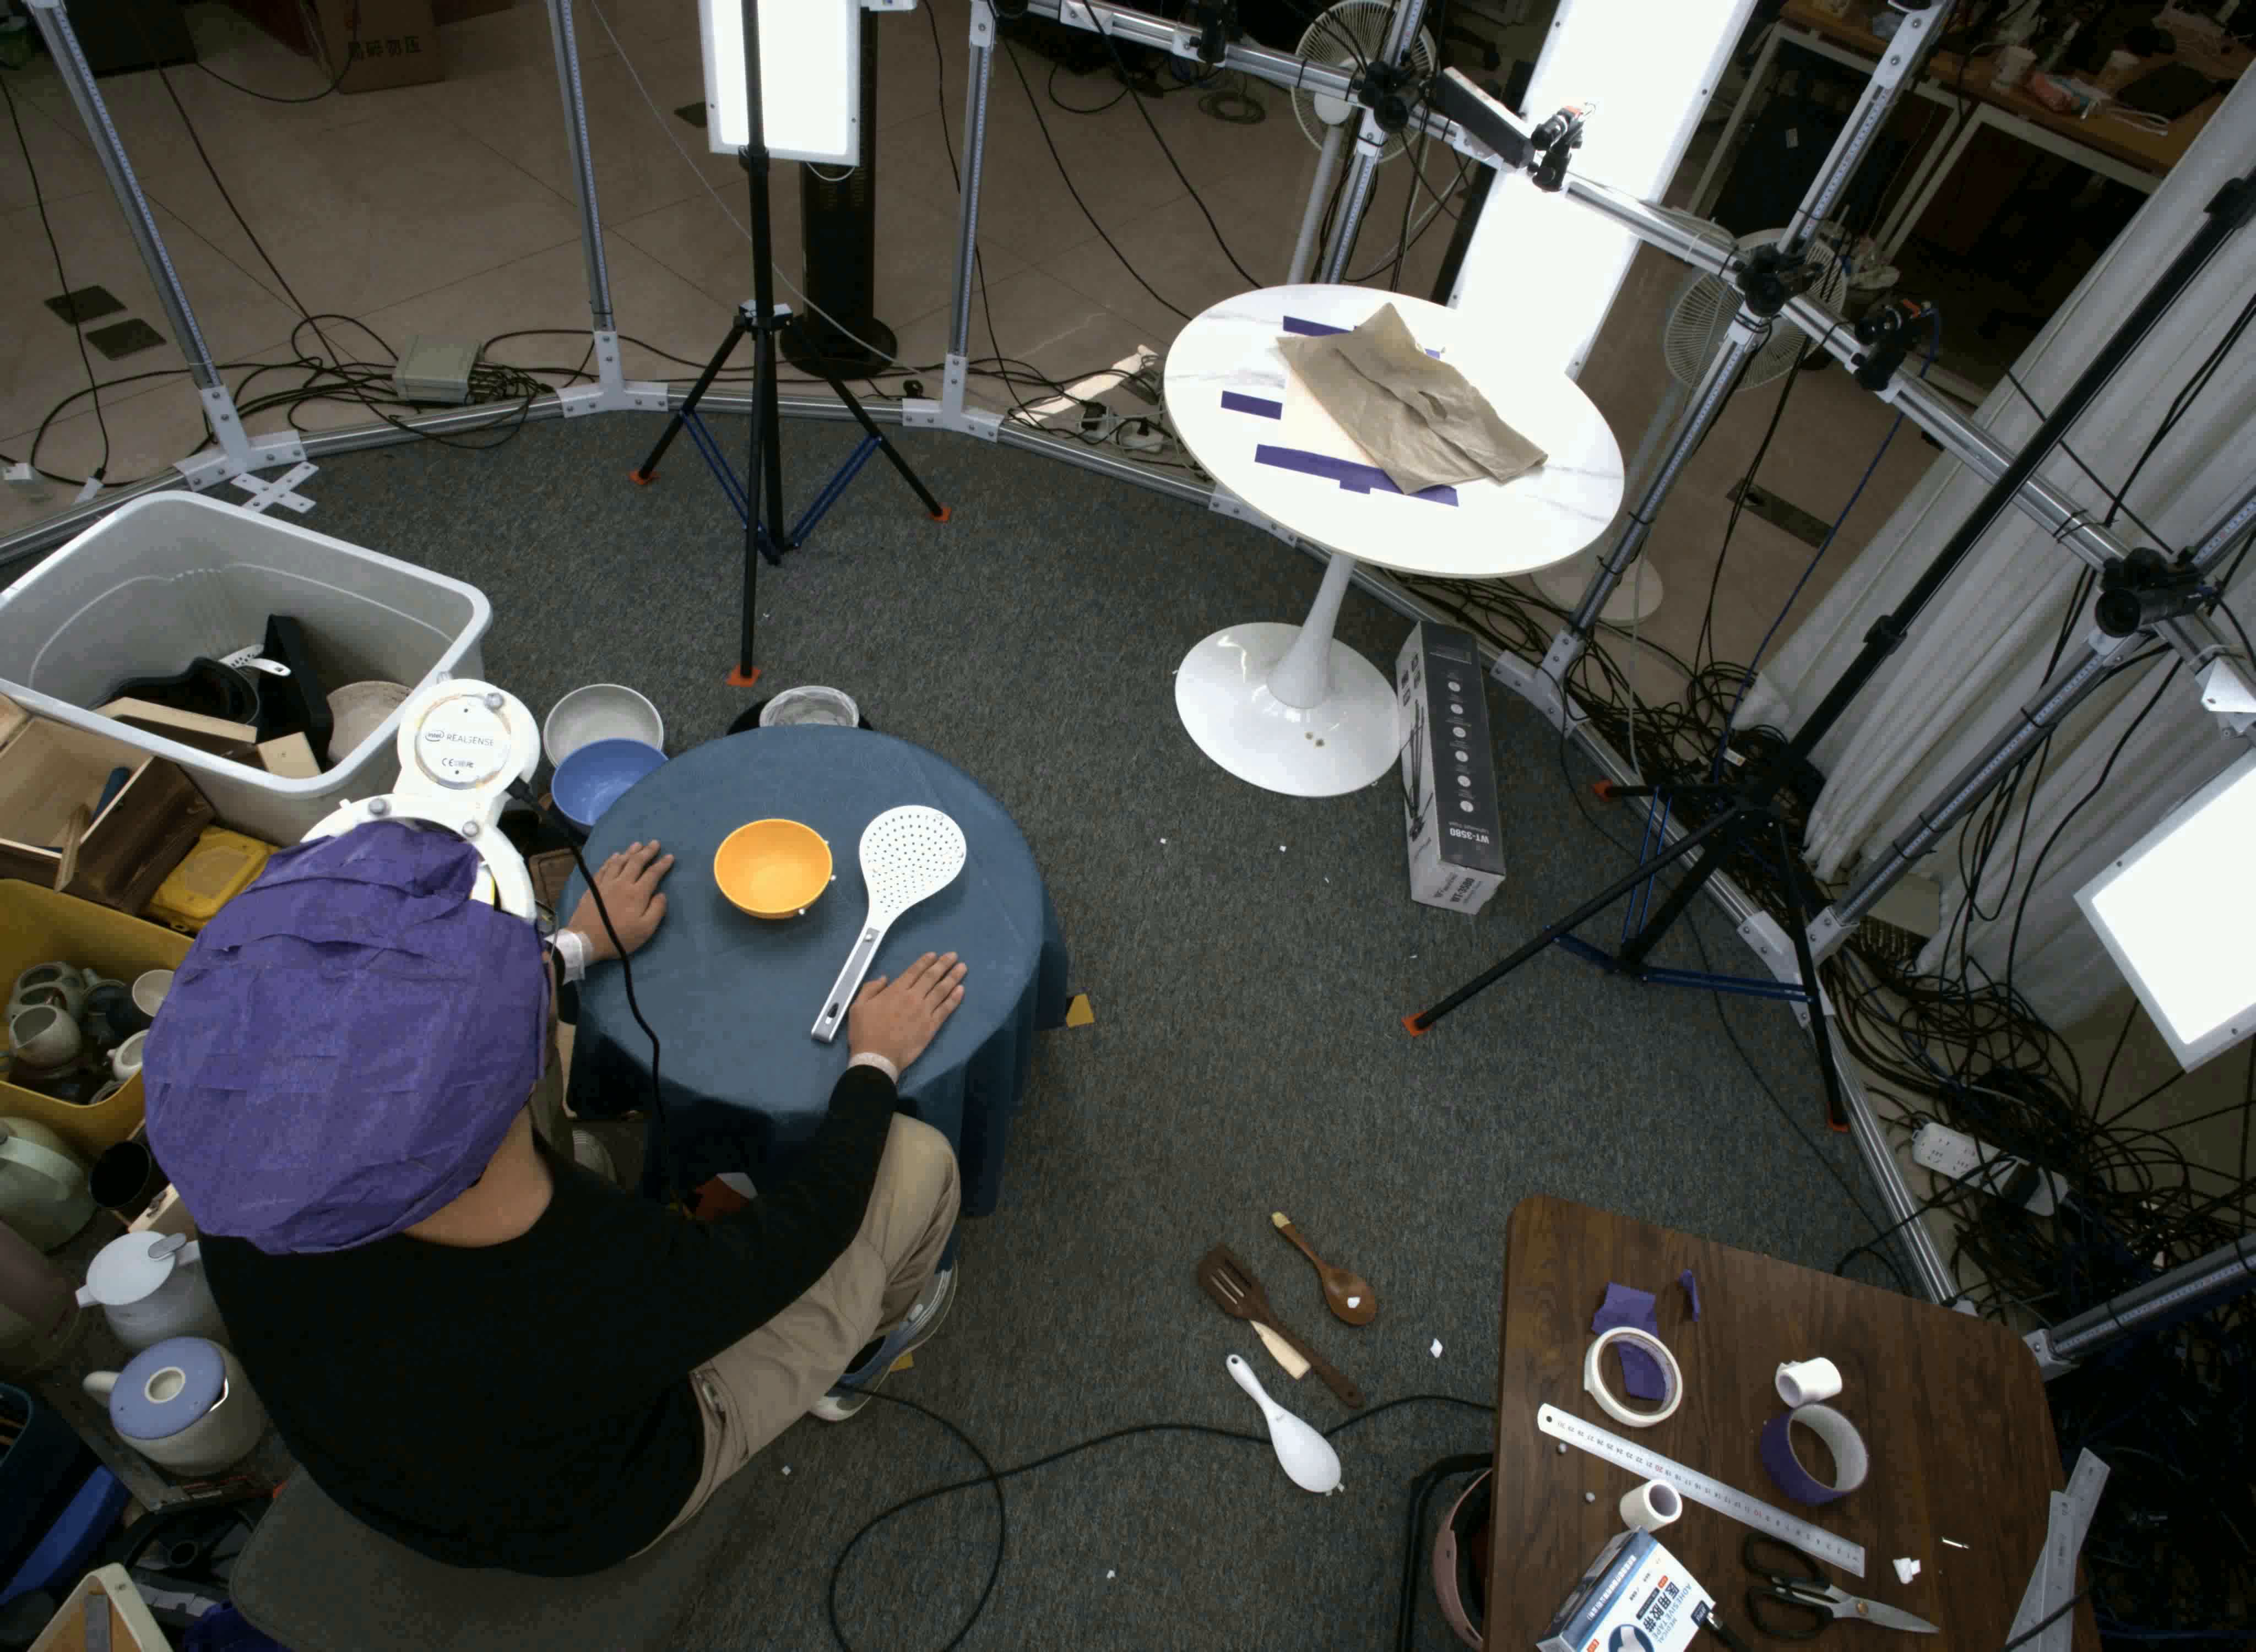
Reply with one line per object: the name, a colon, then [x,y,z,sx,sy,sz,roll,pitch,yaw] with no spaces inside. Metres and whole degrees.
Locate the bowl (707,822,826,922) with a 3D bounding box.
bowl: [-0.451,0.067,1.625,0.145,0.061,0.142,7,51,-7]

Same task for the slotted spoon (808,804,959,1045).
slotted spoon: [-0.318,0.116,1.630,0.134,0.046,0.346,19,52,1]
